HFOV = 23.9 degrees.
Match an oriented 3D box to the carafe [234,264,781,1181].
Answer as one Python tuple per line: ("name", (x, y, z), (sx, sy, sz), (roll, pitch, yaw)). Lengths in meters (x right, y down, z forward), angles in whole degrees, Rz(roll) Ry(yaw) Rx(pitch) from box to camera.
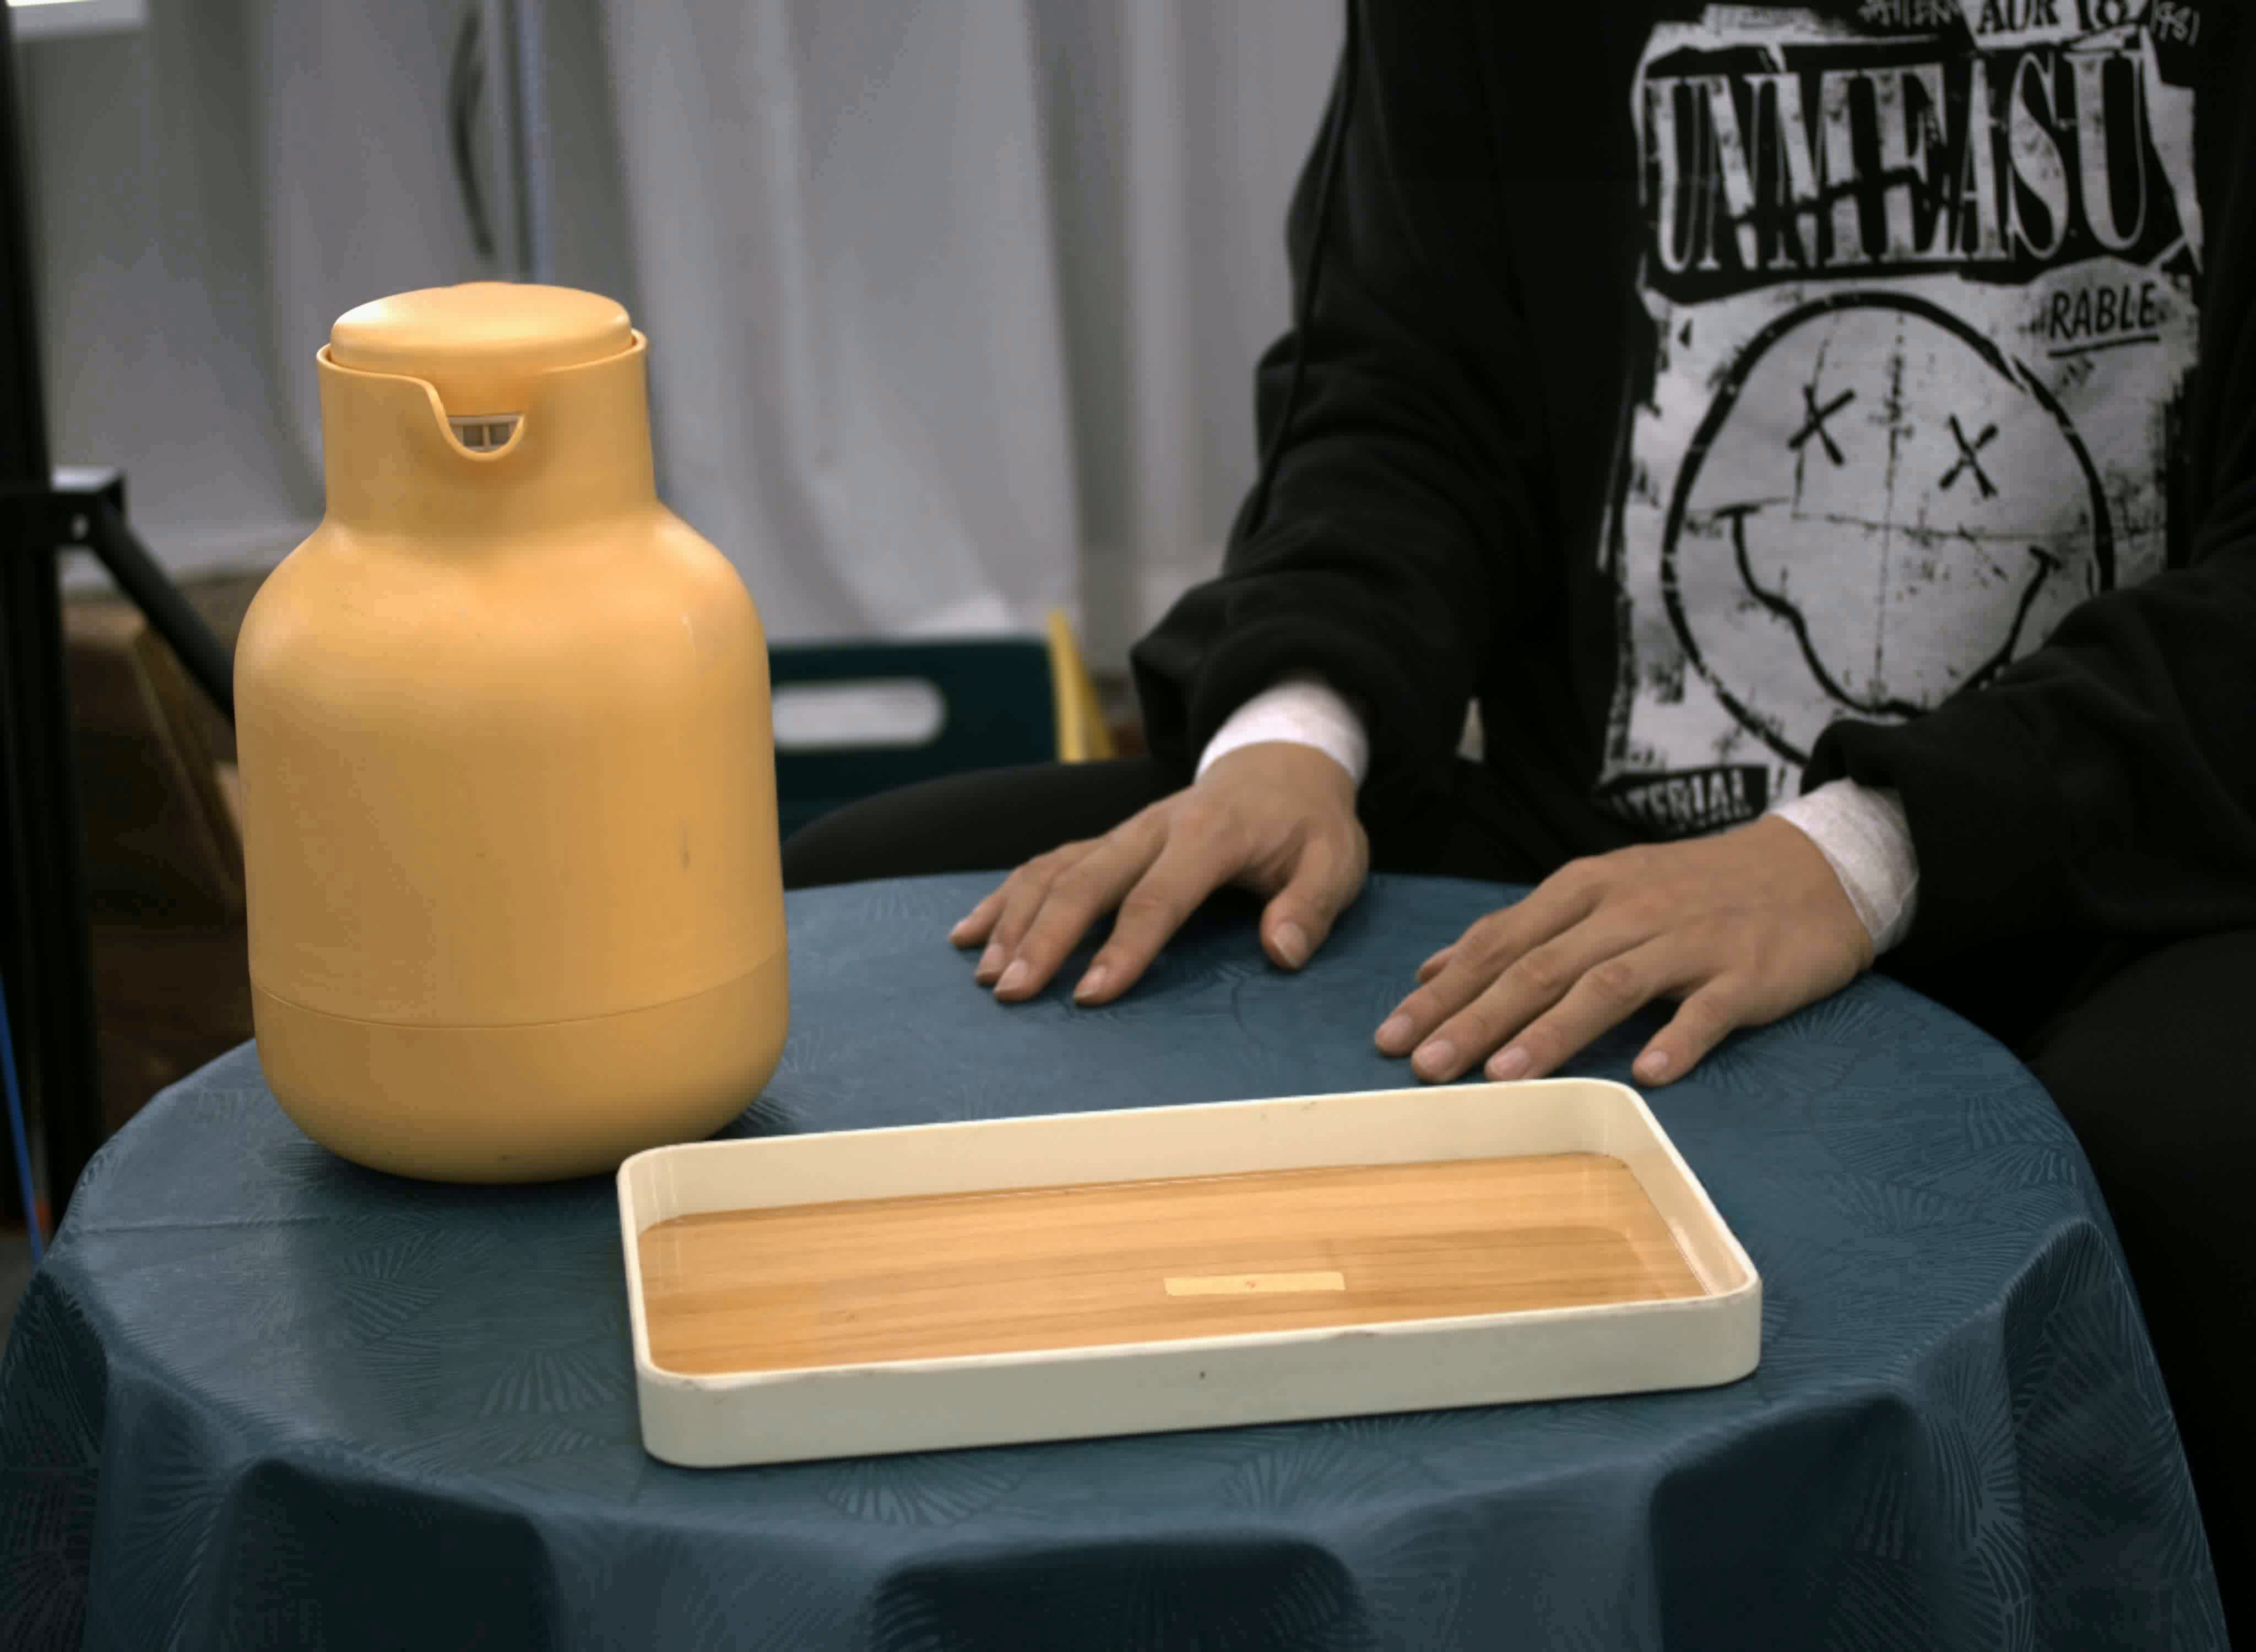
("carafe", (-0.188, -0.039, 1.626), (0.162, 0.260, 0.204), (0, 17, -3))

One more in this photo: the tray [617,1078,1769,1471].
("tray", (0.012, 0.121, 1.459), (0.298, 0.027, 0.193), (-4, 16, -4))
